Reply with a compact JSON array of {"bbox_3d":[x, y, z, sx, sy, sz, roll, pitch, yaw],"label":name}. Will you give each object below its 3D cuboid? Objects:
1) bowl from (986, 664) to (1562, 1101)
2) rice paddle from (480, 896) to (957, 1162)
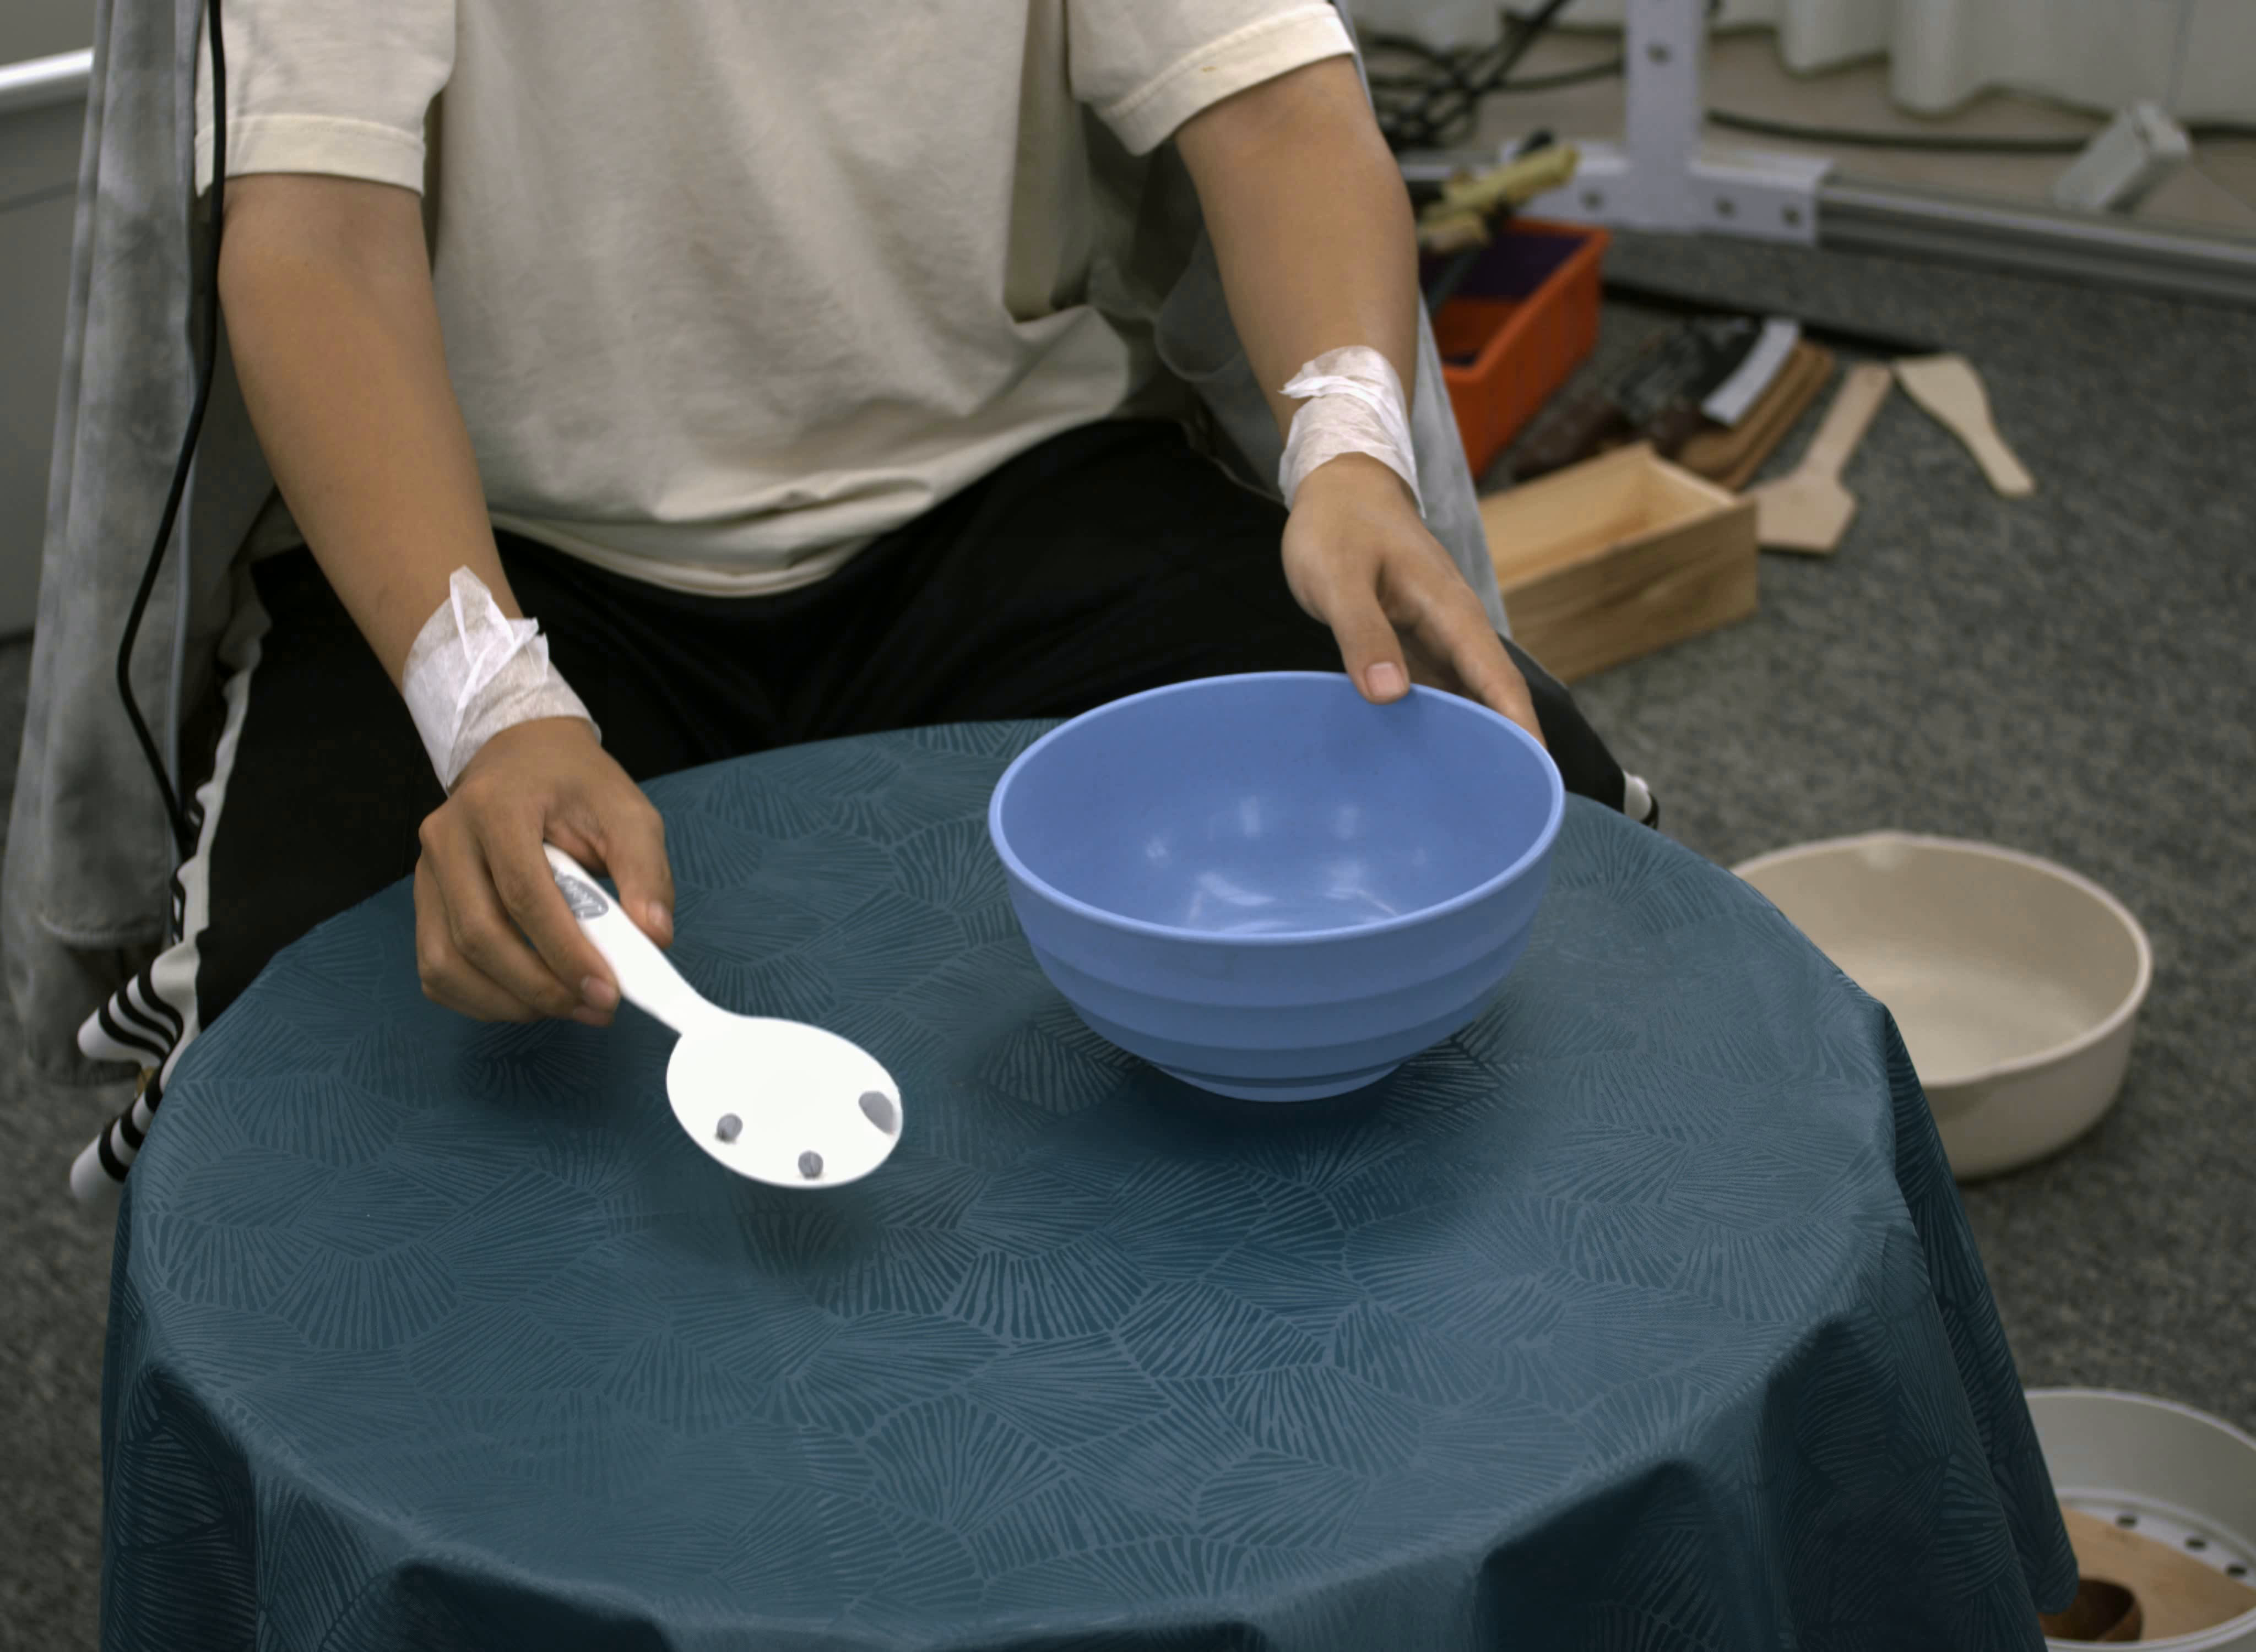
[{"bbox_3d":[0.052,0.030,1.927,0.195,0.094,0.199,-3,29,2],"label":"bowl"},{"bbox_3d":[-0.137,0.070,1.871,0.205,0.029,0.069,24,30,38],"label":"rice paddle"}]
